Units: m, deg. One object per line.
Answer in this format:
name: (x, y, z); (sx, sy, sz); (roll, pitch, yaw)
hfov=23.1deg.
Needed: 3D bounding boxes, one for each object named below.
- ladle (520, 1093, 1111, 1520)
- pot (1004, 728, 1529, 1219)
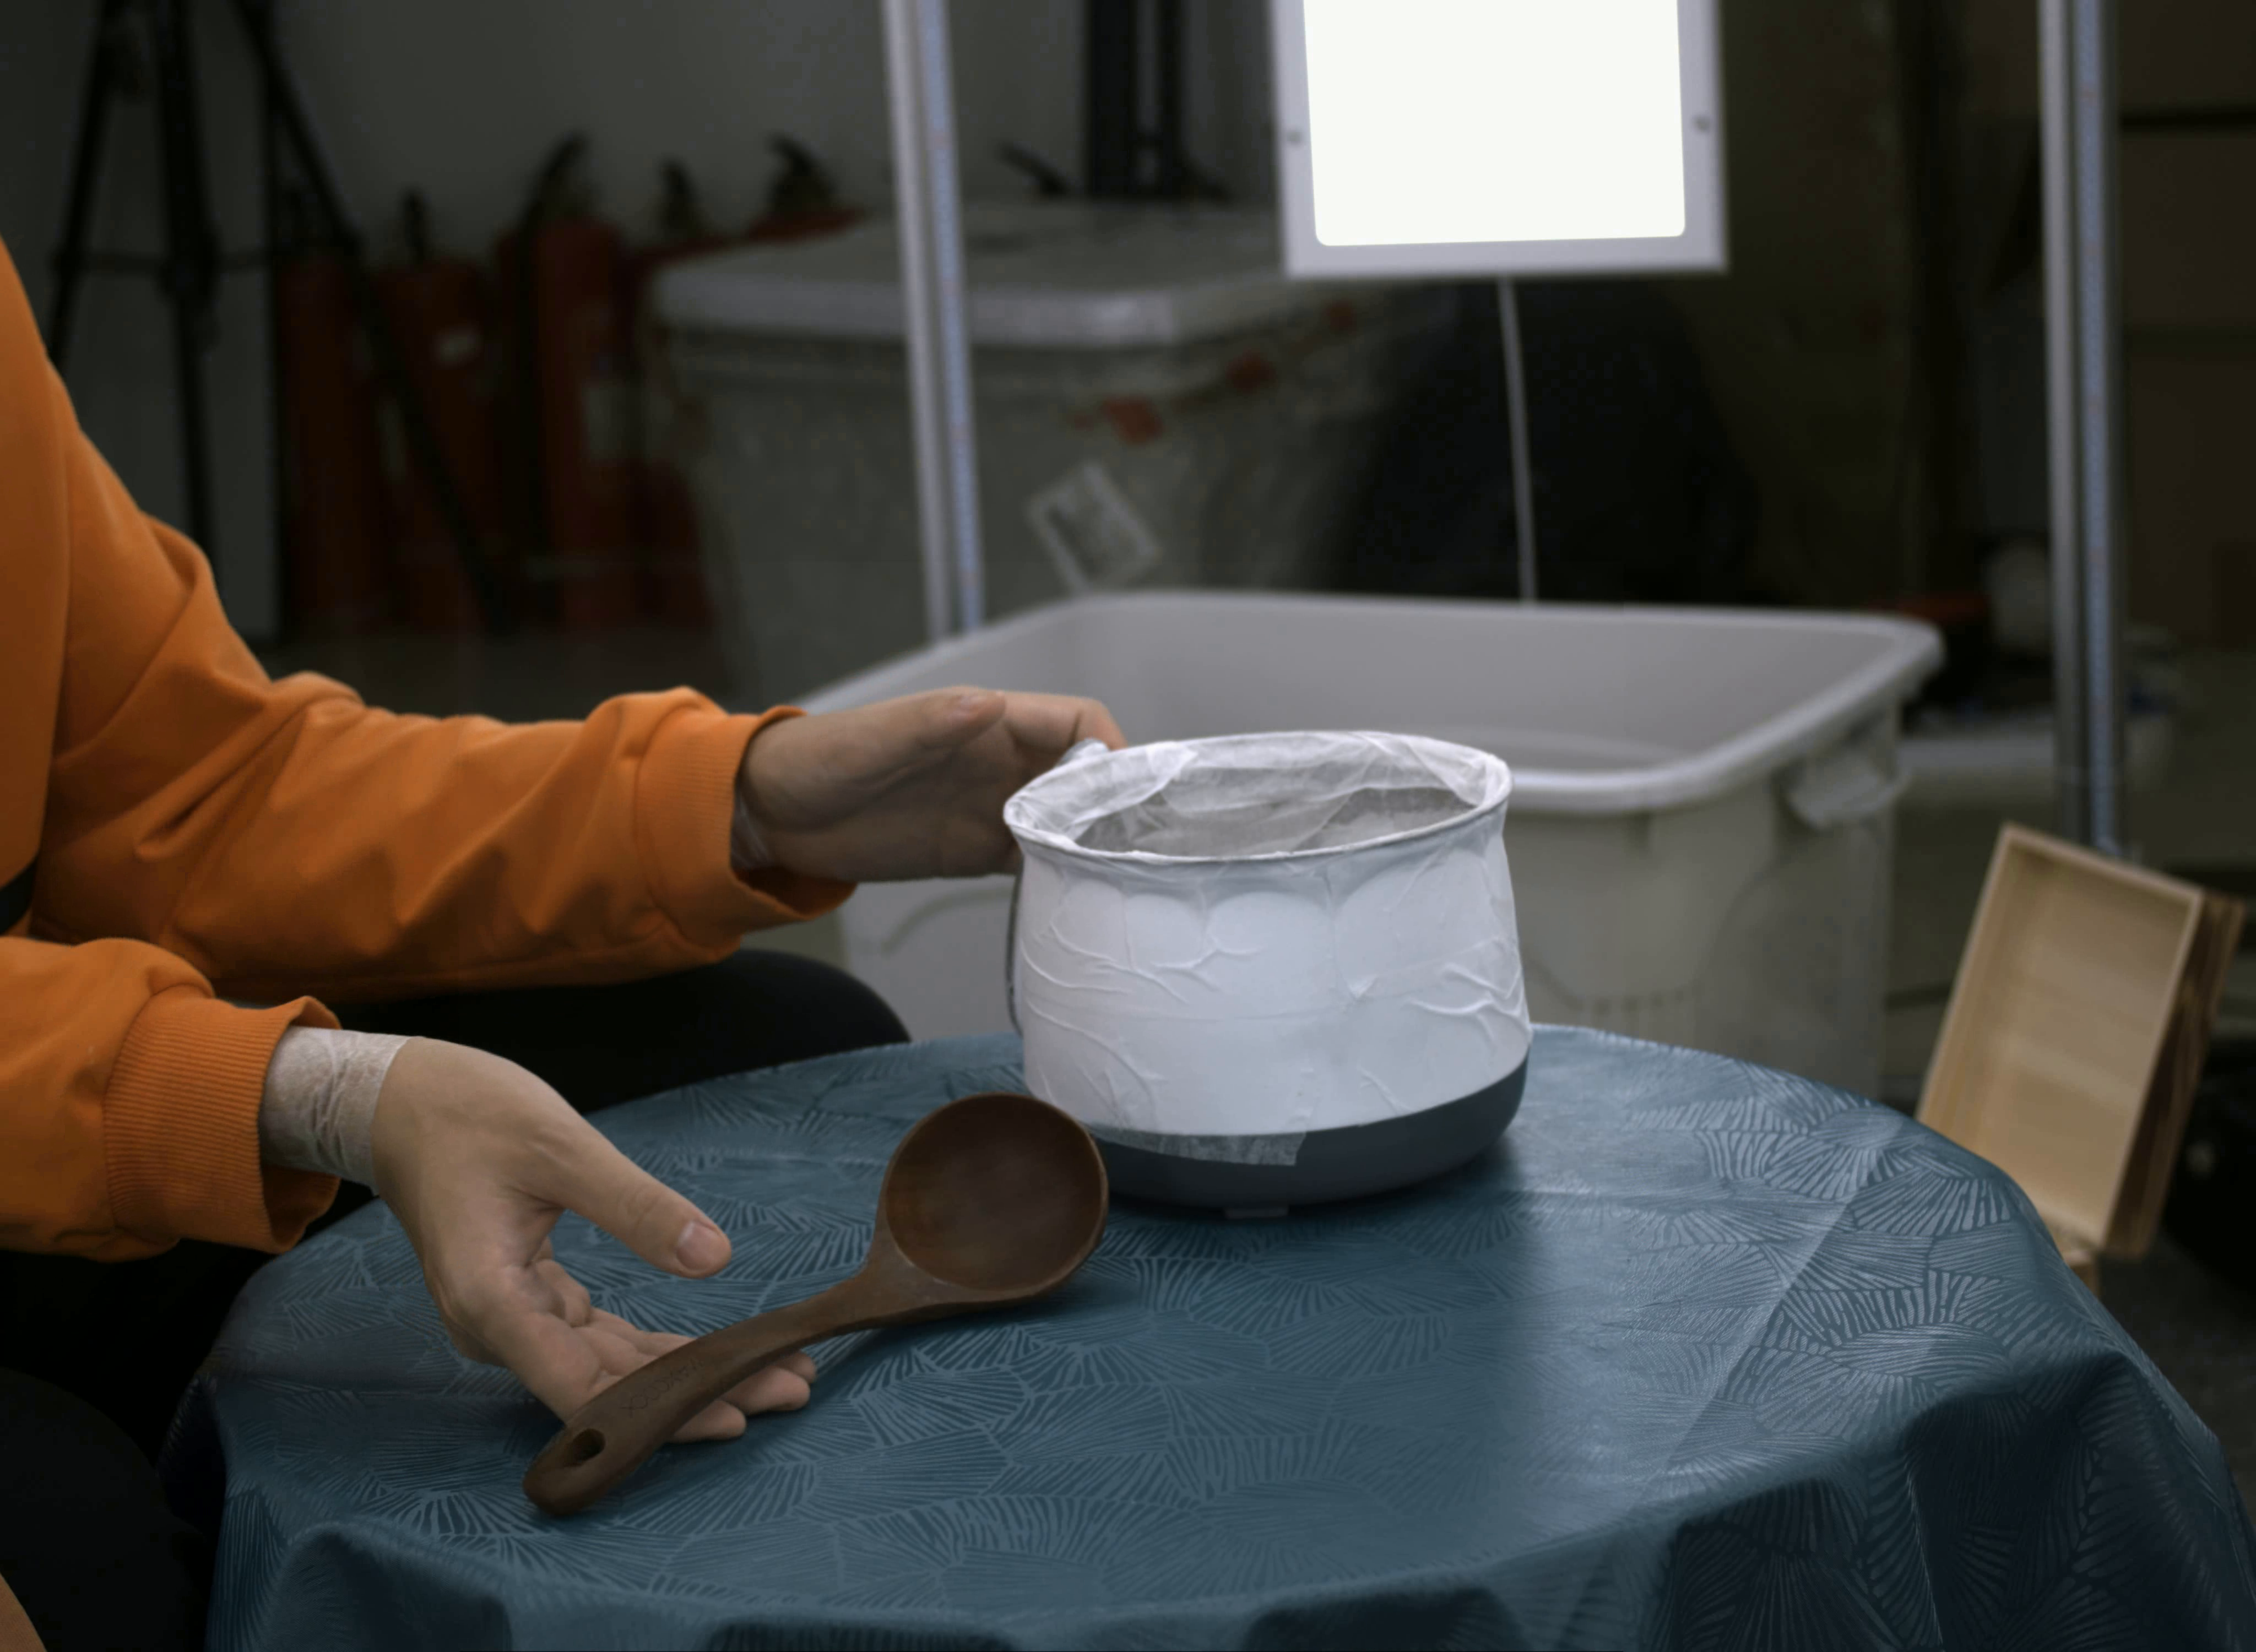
ladle: (-0.097, 0.147, 1.721); (0.077, 0.066, 0.254); (32, 30, 24)
pot: (0.033, 0.045, 1.927); (0.174, 0.137, 0.238); (-14, 17, -35)
